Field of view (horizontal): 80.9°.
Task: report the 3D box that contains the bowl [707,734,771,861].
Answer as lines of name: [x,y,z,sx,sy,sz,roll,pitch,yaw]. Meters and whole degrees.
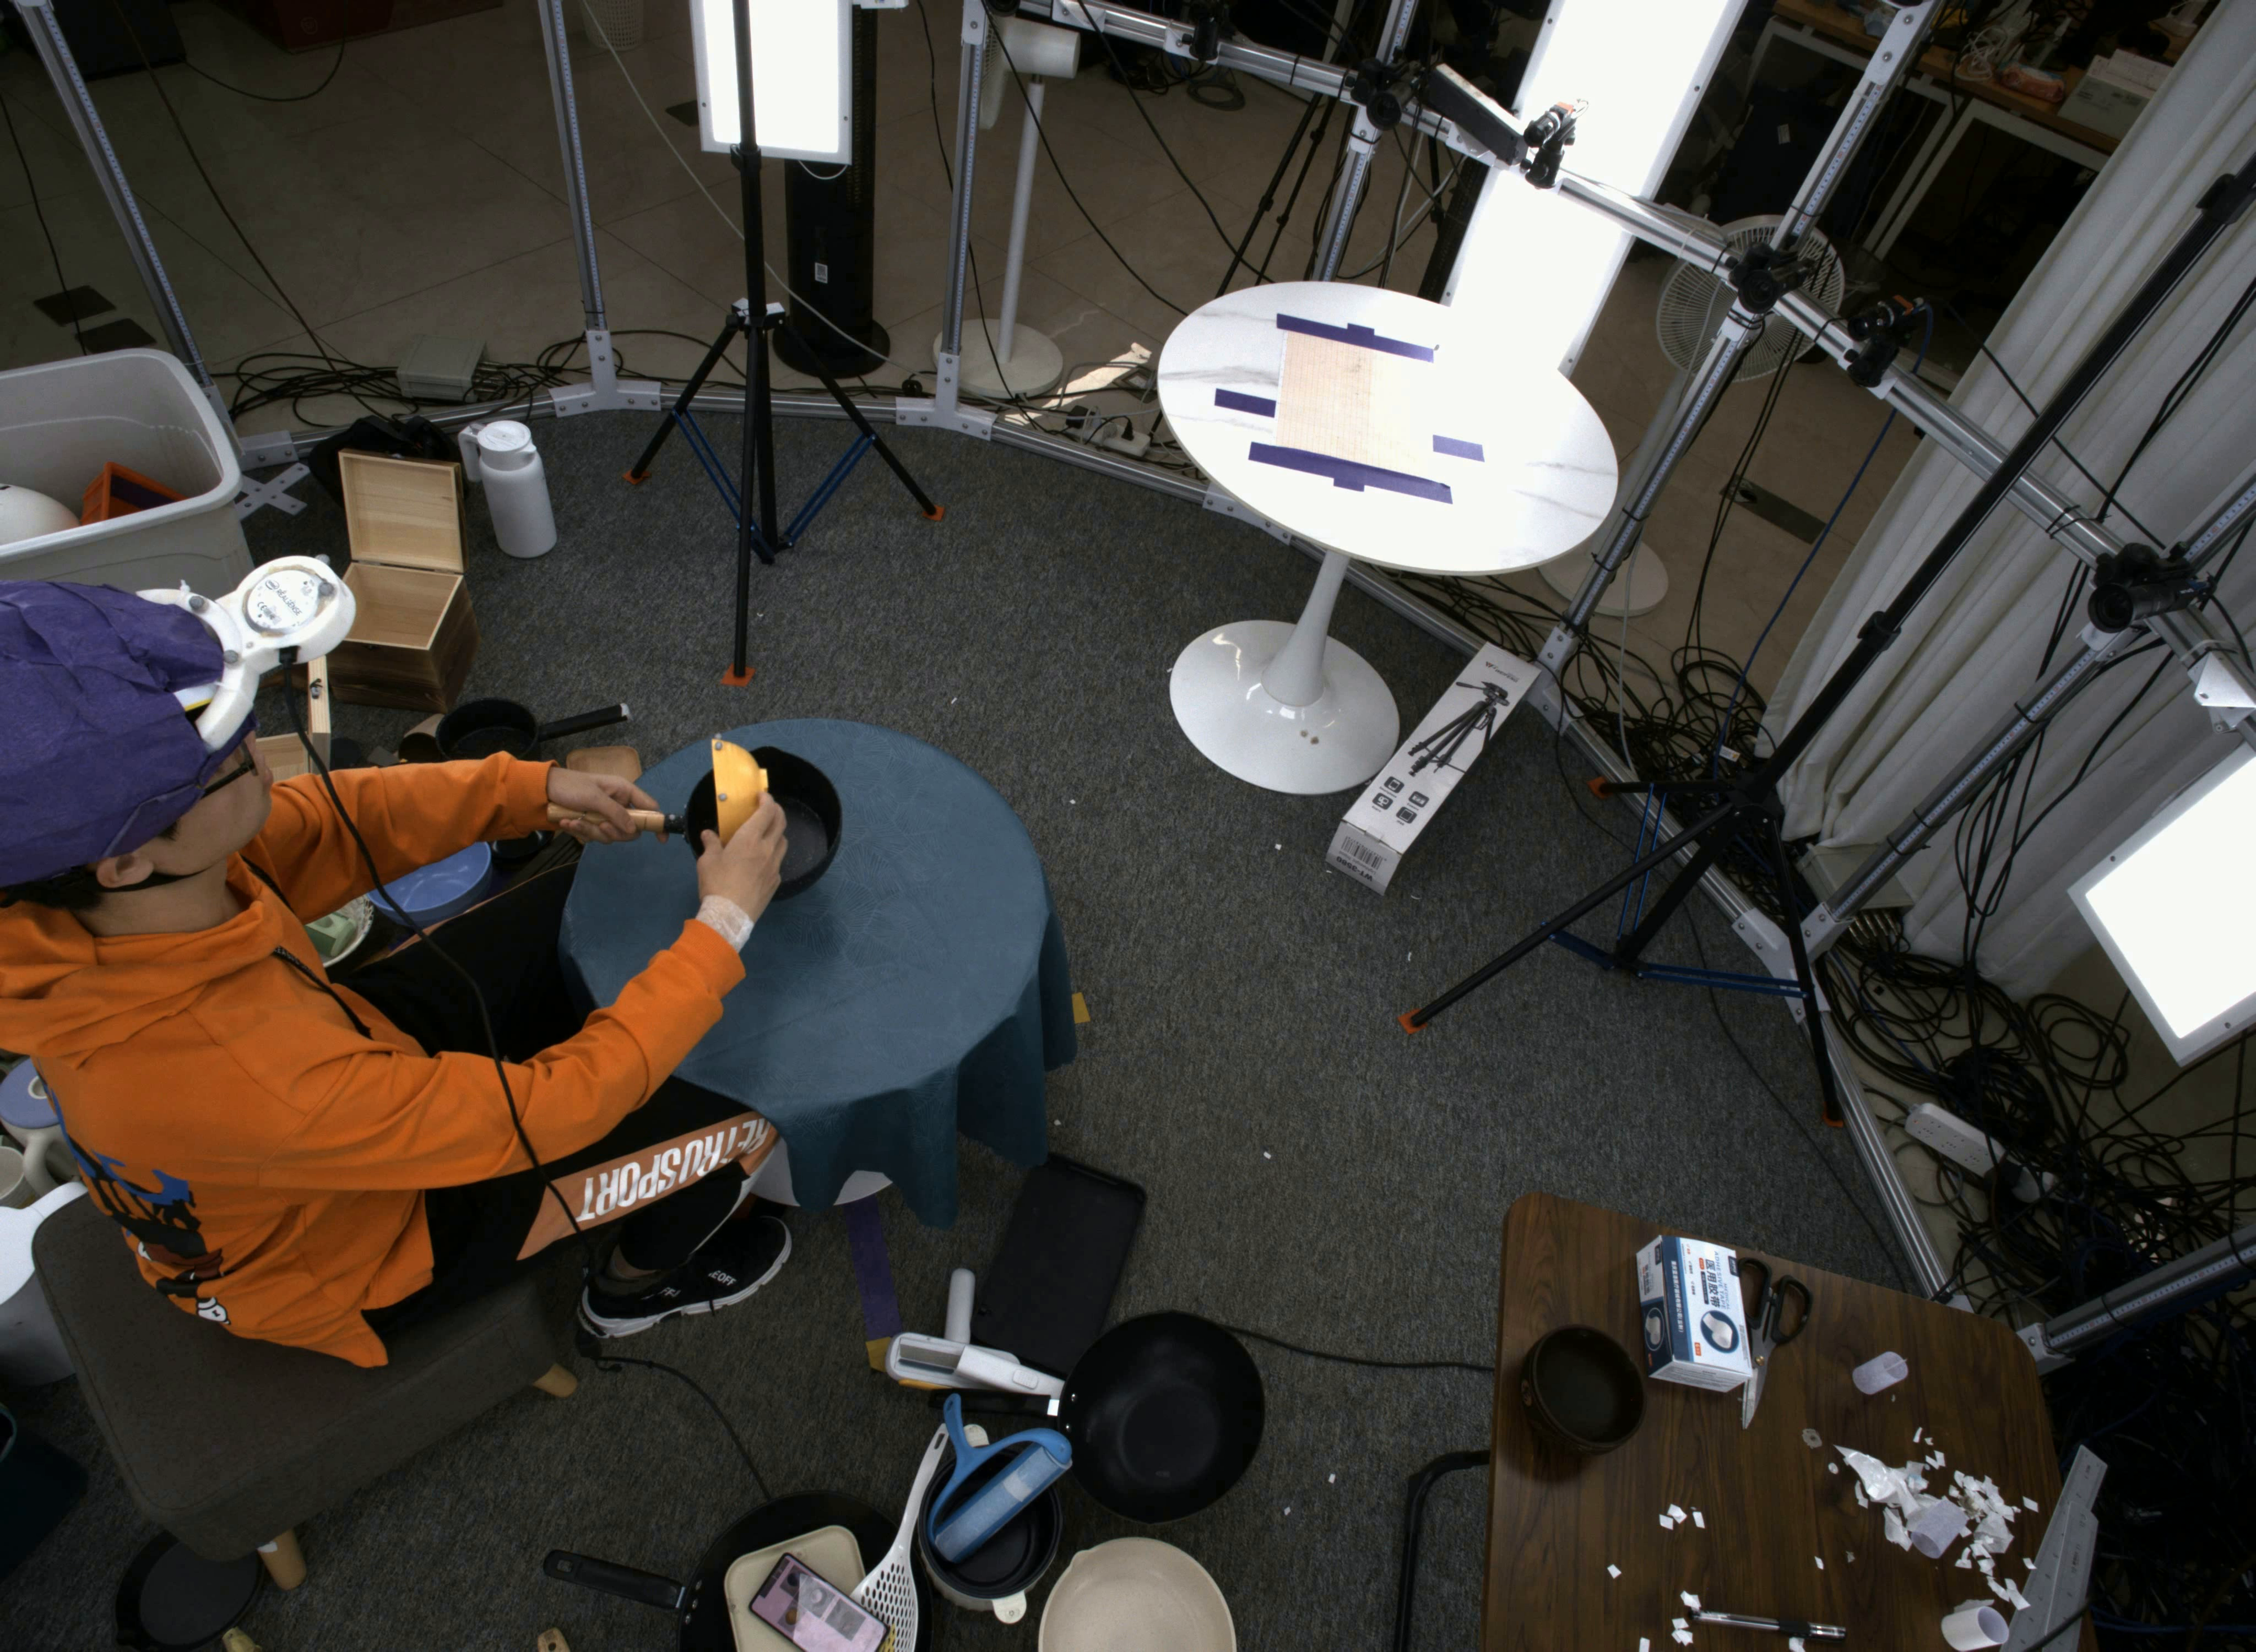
bowl: [-0.445,-0.037,1.488,0.060,0.149,0.142,-8,54,-14]

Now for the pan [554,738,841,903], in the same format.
pan: [-0.516,0.001,1.539,0.343,0.109,0.205,-1,66,-14]
